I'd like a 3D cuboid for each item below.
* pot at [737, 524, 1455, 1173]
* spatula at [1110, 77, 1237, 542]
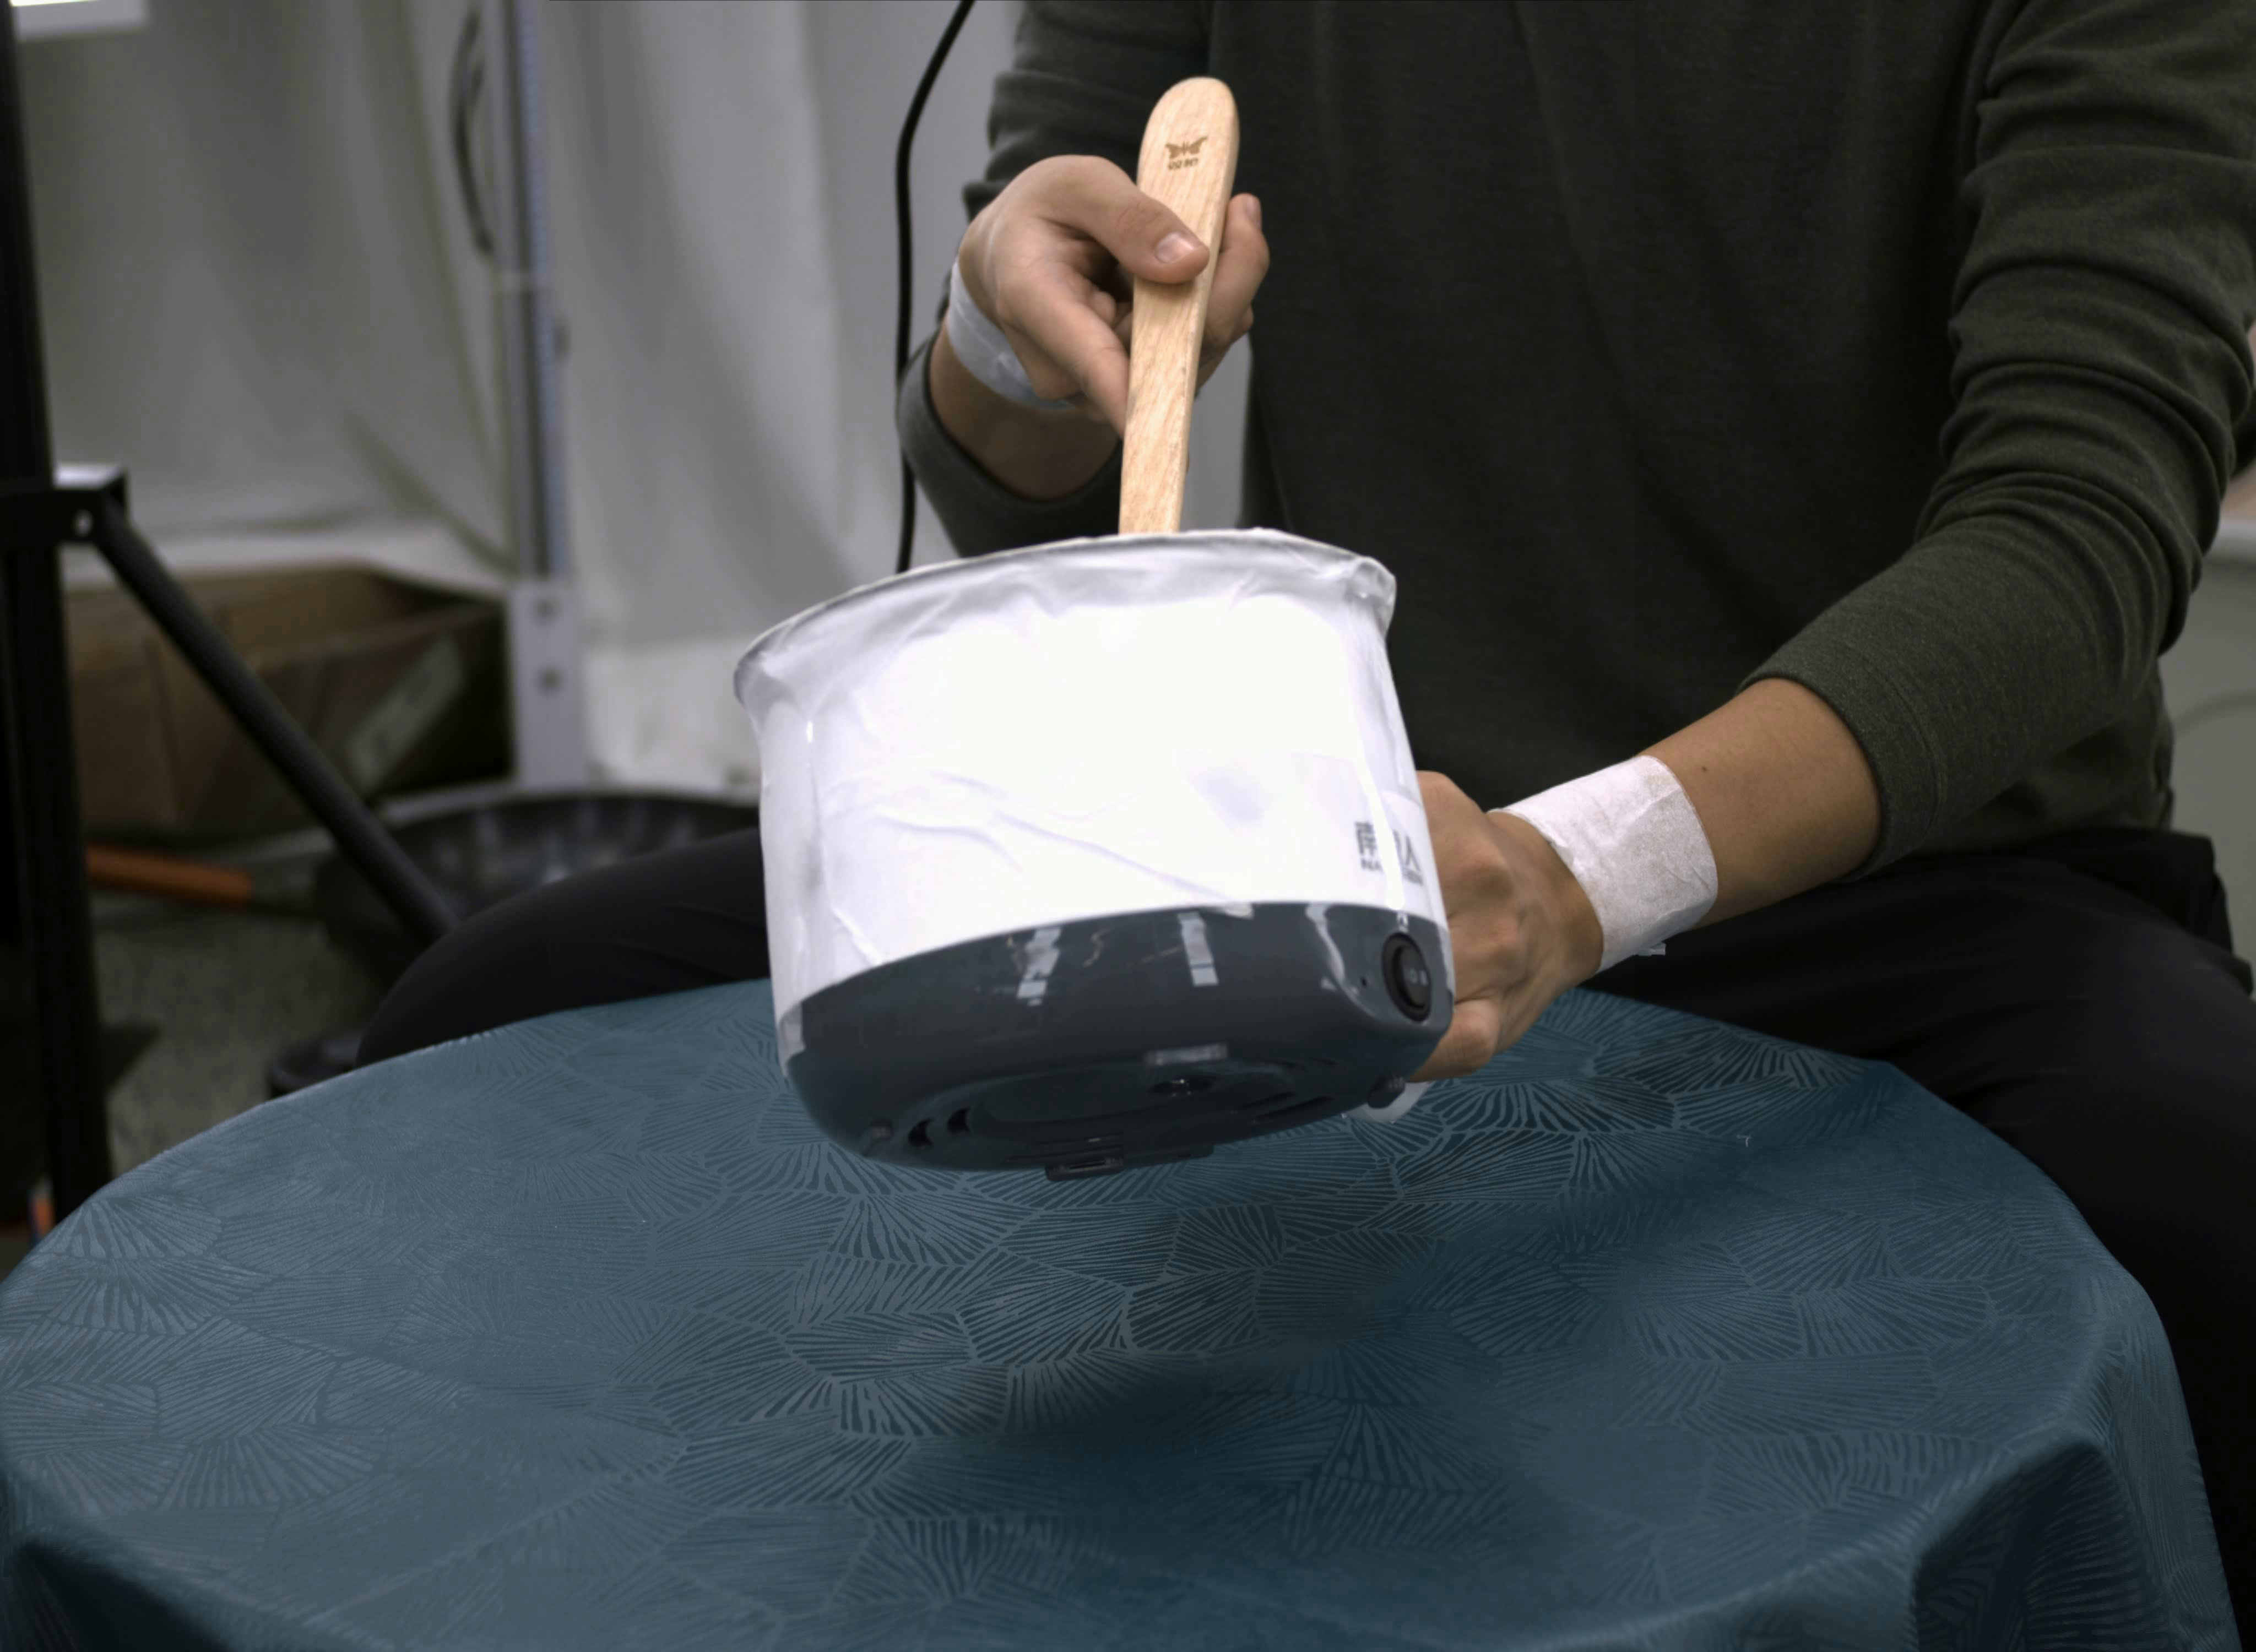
[{"bbox_3d":[0.007,0.014,1.405,0.181,0.138,0.228,-15,-16,30],"label":"pot"},{"bbox_3d":[0.003,-0.099,1.535,0.096,0.018,0.394,-7,43,12],"label":"spatula"}]
